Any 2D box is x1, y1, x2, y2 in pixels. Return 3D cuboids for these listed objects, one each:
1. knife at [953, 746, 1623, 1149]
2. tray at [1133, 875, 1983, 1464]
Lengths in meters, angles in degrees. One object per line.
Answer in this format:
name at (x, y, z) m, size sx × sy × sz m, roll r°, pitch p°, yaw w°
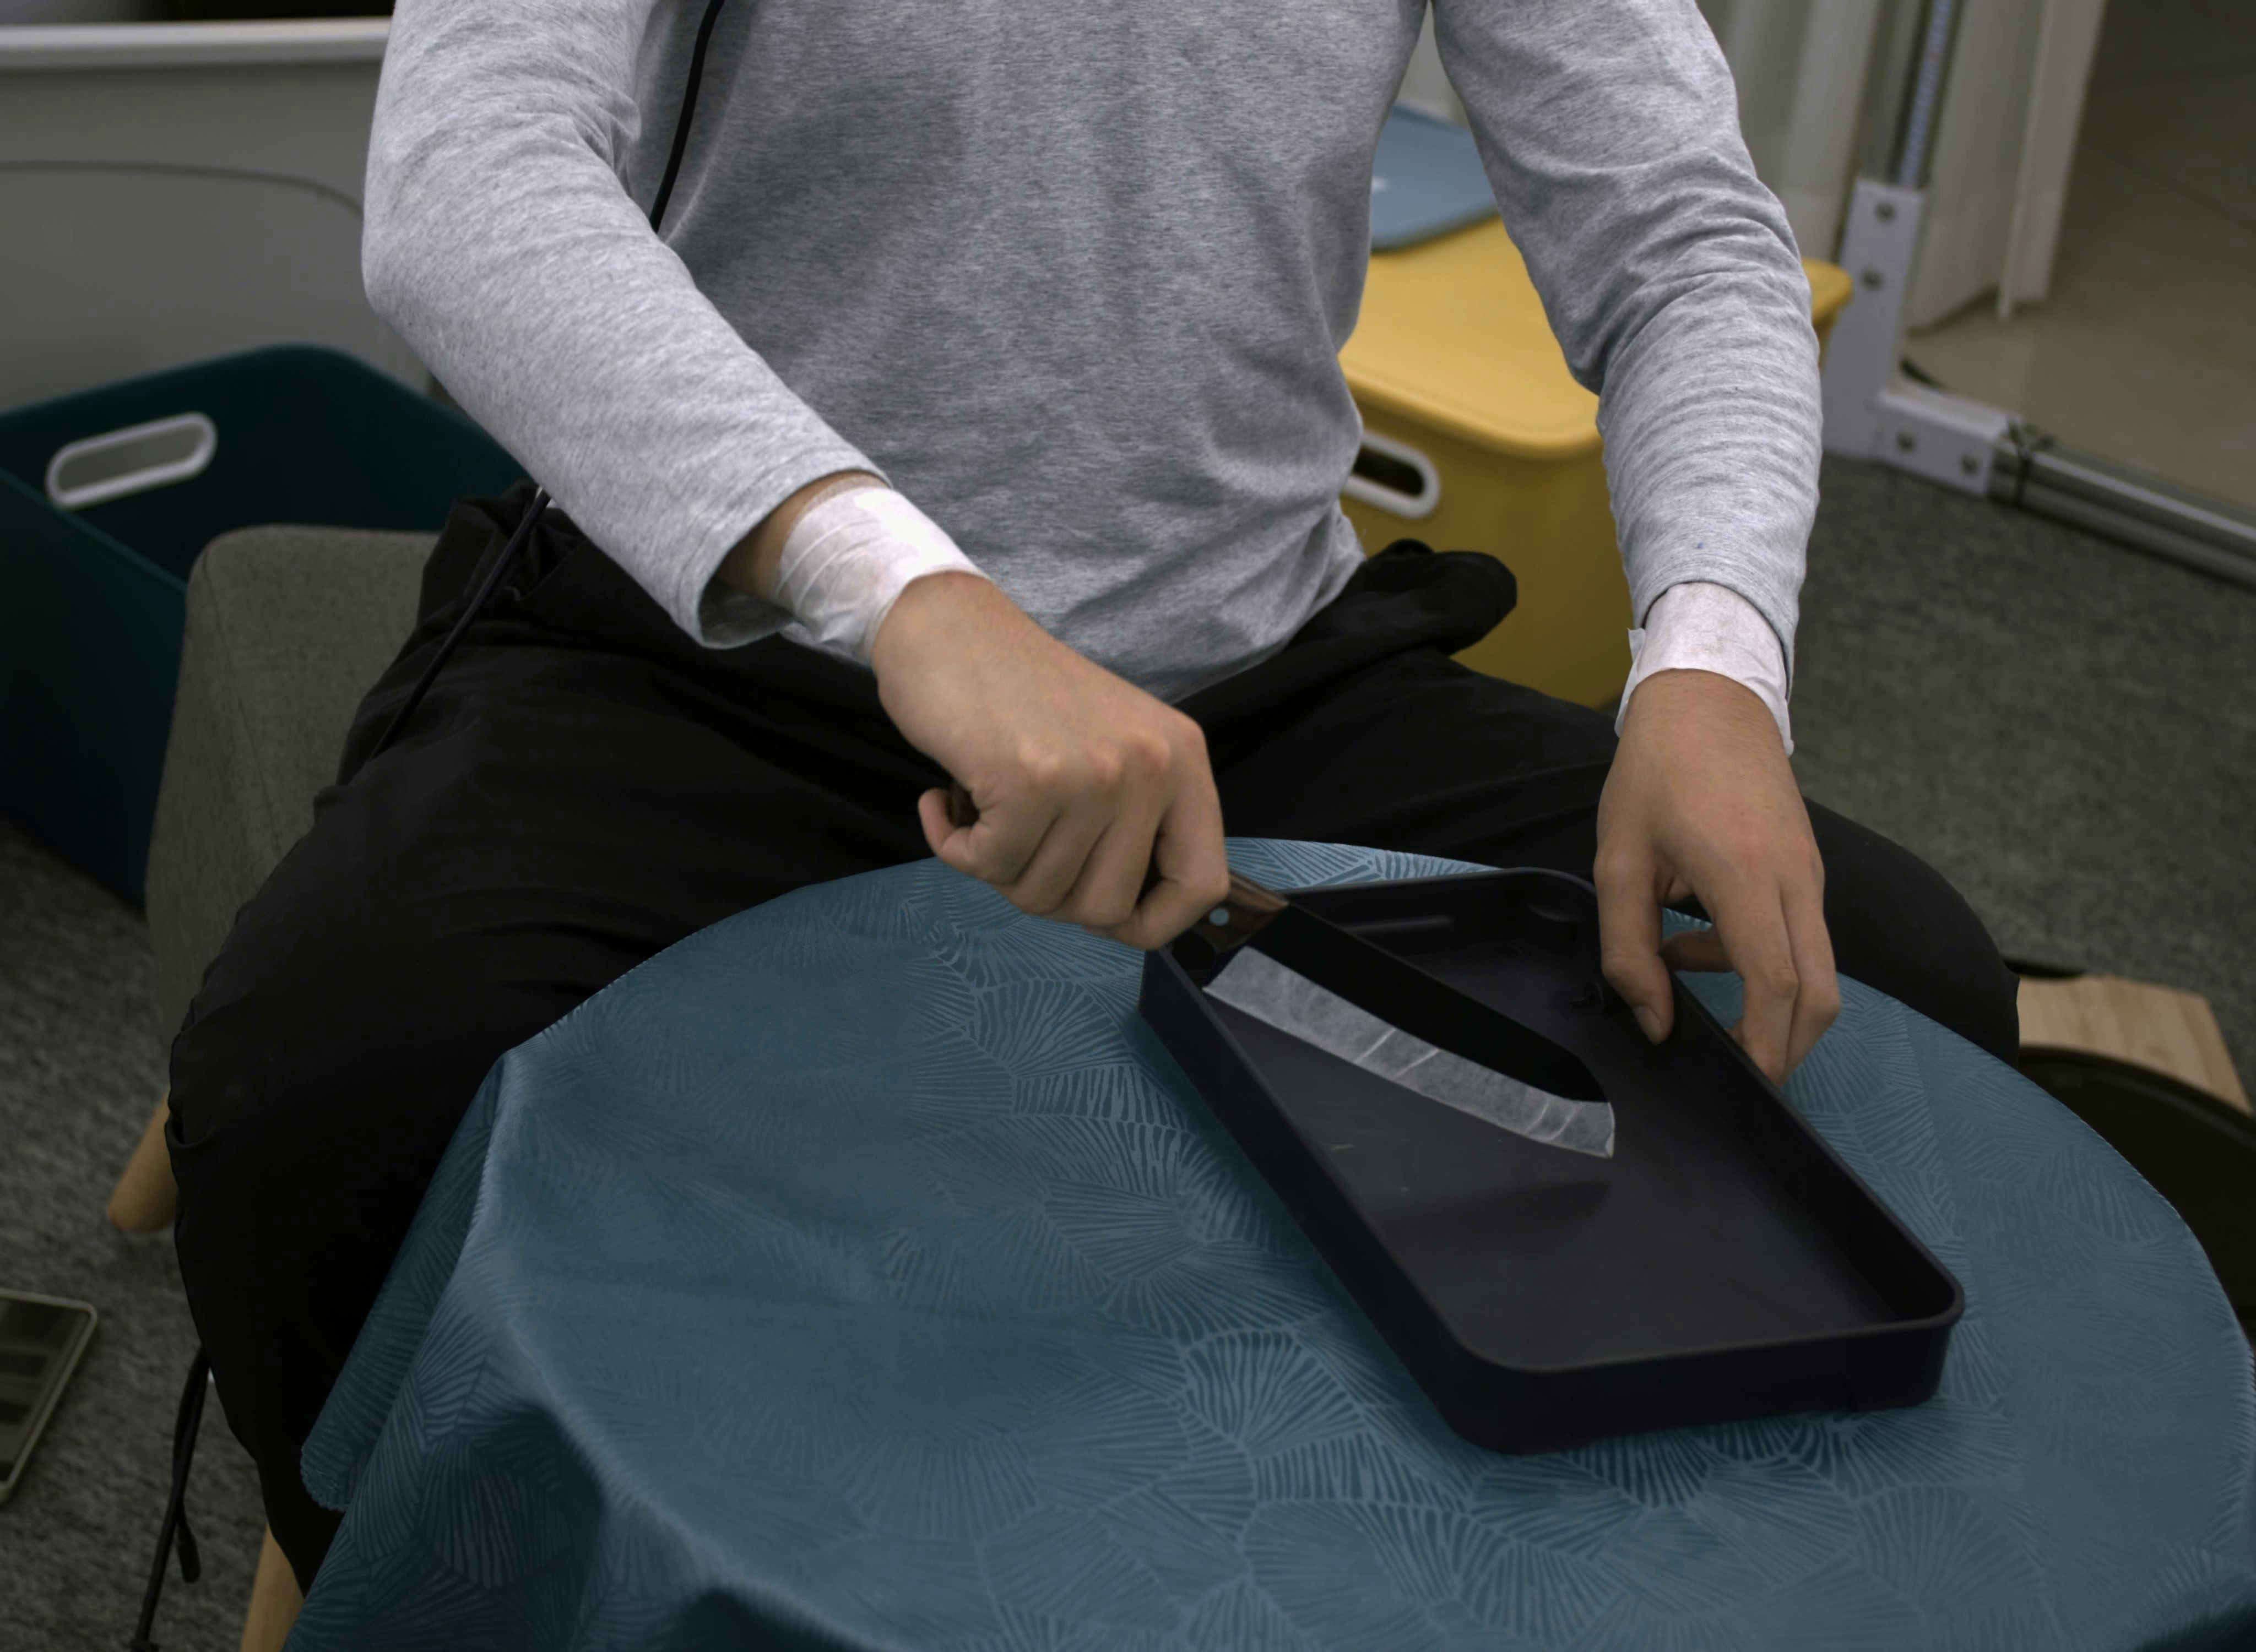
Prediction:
knife at (0.057, 0.045, 1.775) m, size 0.287 × 0.050 × 0.020 m, roll 29°, pitch 28°, yaw -25°
tray at (0.139, 0.111, 1.824) m, size 0.183 × 0.037 × 0.321 m, roll -5°, pitch 29°, yaw -23°
